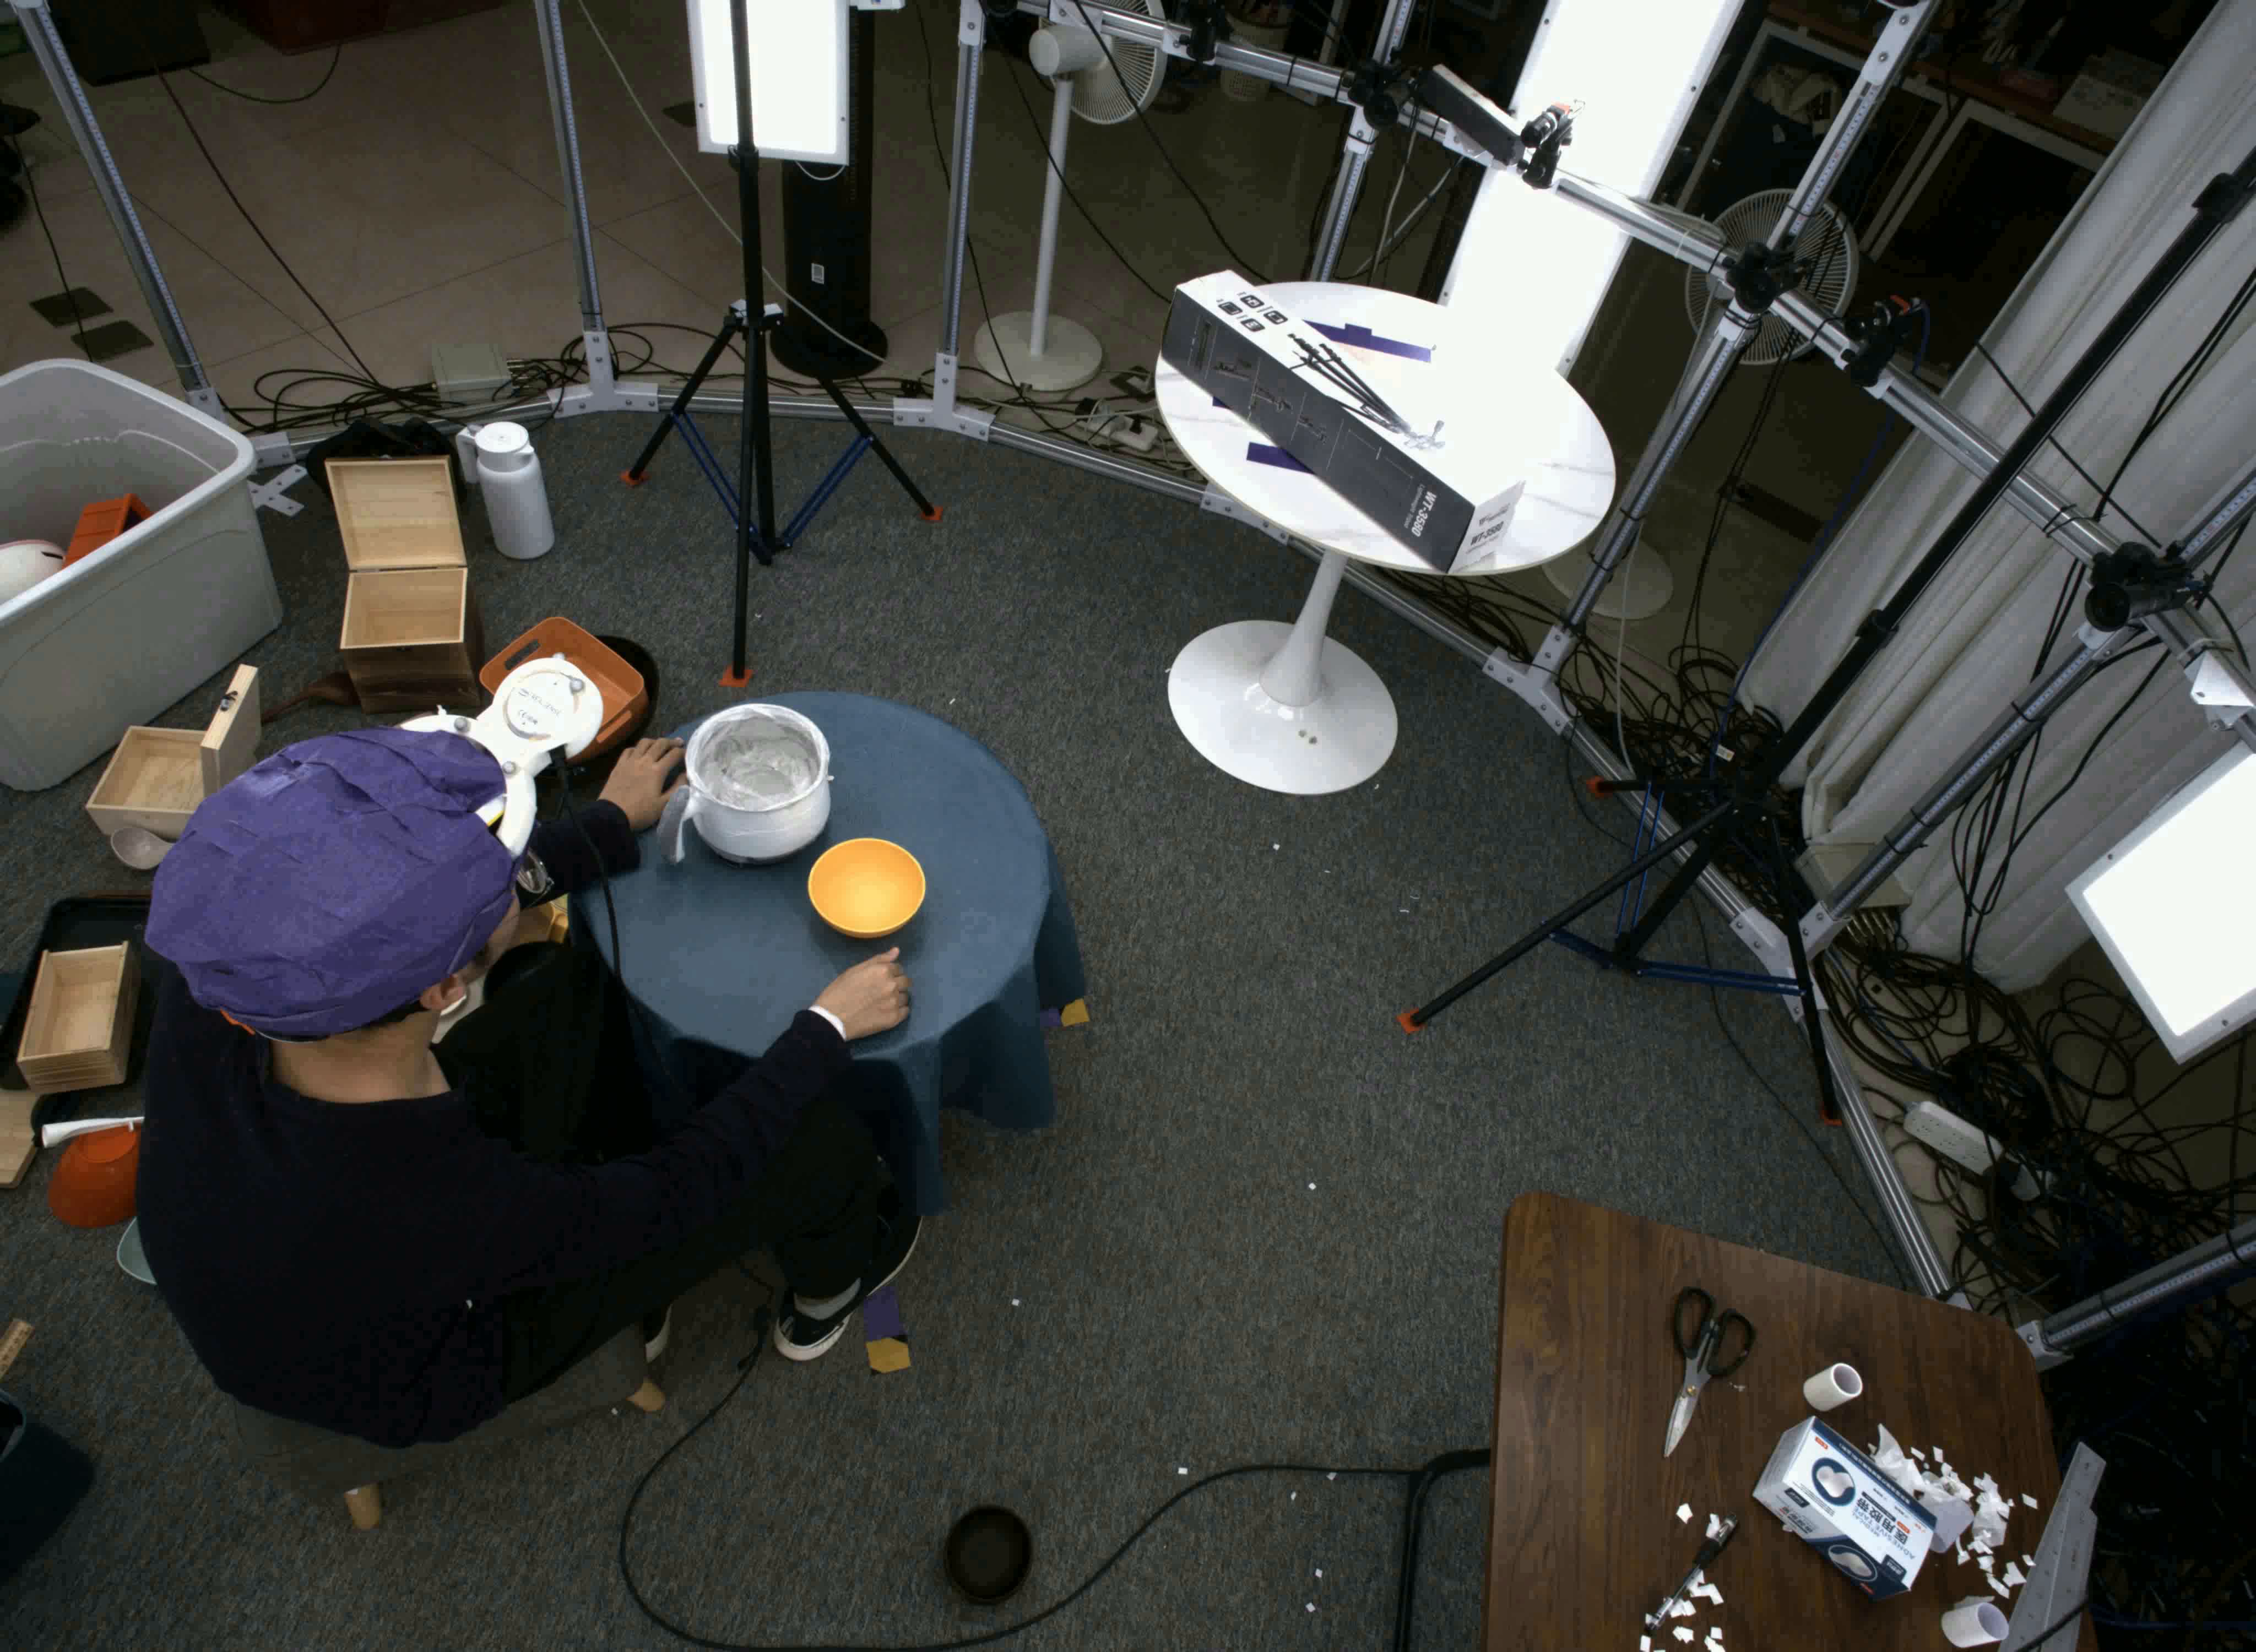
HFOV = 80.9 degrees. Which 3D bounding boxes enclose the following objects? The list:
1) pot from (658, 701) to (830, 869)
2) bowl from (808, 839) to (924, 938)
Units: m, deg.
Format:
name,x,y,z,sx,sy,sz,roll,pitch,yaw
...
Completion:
name,x,y,z,sx,sy,sz,roll,pitch,yaw
pot,-0.496,-0.040,1.657,0.234,0.140,0.174,-33,63,-32
bowl,-0.332,0.089,1.653,0.145,0.061,0.142,7,51,-8
